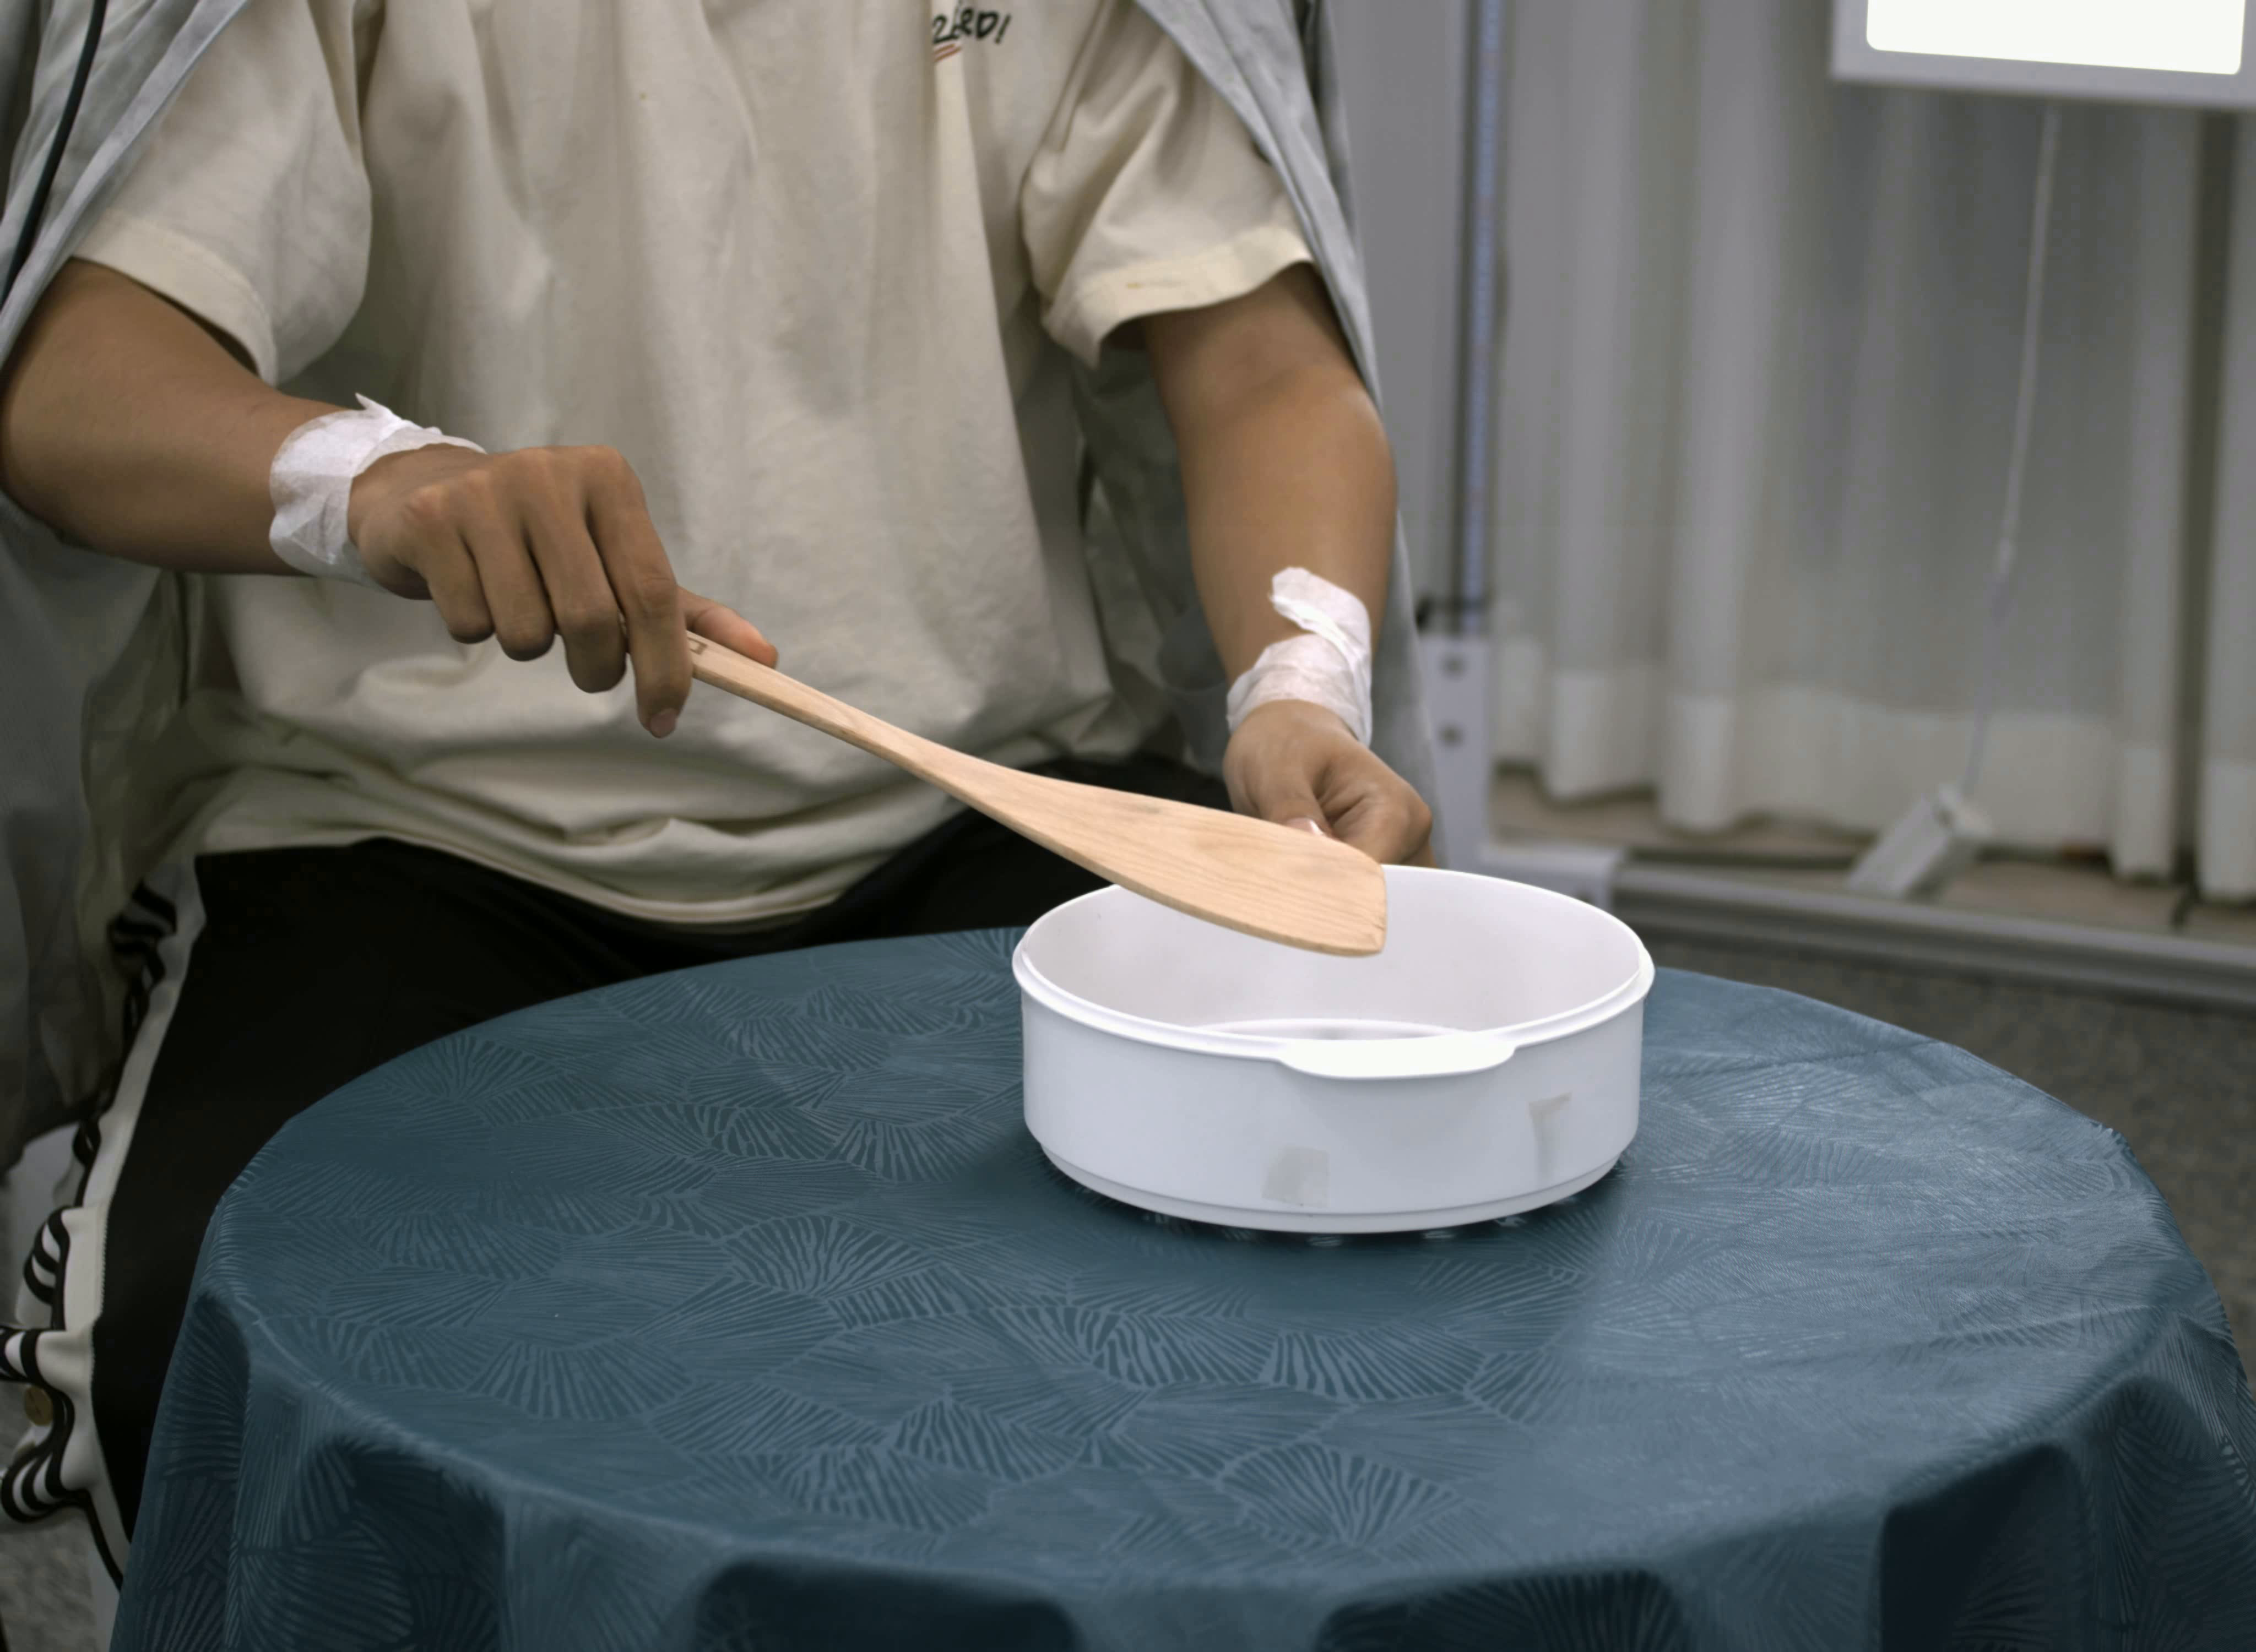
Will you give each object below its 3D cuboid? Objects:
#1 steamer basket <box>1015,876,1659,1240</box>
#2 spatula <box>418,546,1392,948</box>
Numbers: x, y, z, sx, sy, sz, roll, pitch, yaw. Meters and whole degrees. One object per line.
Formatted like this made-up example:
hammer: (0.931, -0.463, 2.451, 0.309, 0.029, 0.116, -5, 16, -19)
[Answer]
steamer basket: (0.064, 0.072, 1.651, 0.202, 0.070, 0.228, -1, 15, -10)
spatula: (-0.068, -0.030, 1.642, 0.326, 0.016, 0.079, 21, 24, 2)
